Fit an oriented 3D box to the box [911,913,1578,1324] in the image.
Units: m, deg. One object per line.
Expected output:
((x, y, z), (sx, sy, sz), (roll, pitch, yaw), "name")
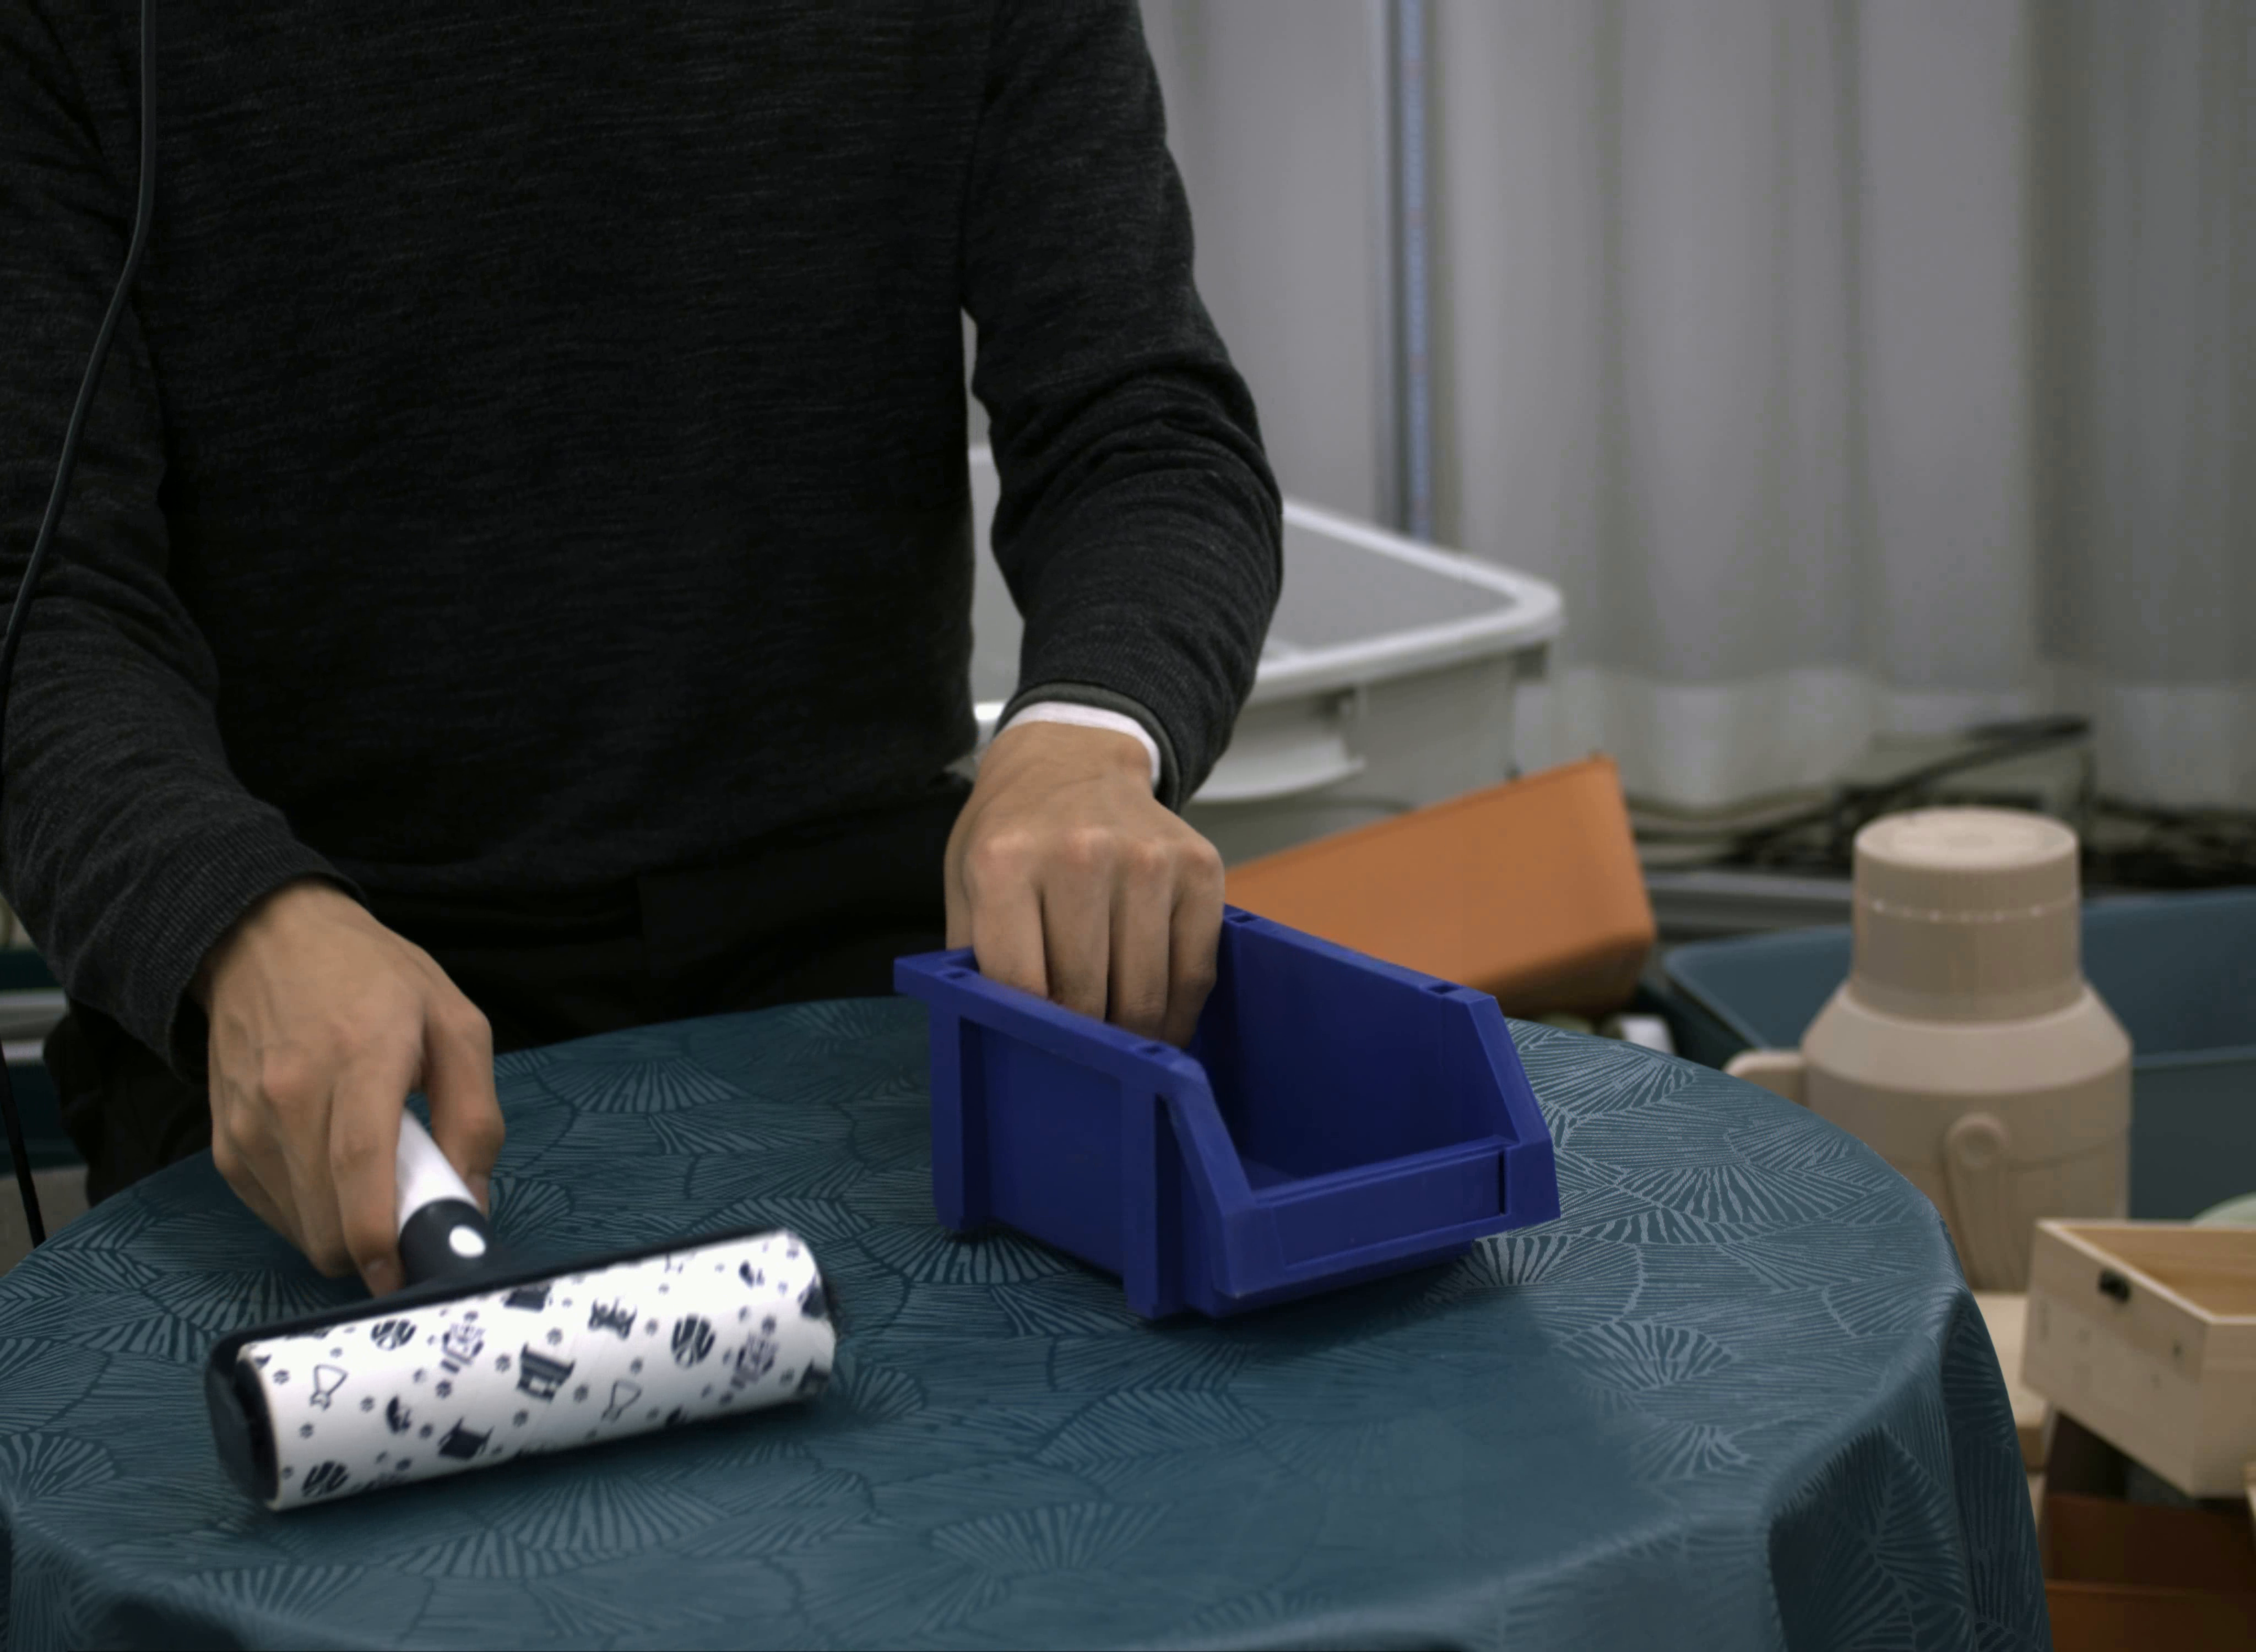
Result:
((0.035, 0.089, 1.642), (0.124, 0.081, 0.180), (-10, 14, -32), "box")

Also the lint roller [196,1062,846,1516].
((-0.205, 0.117, 1.597), (0.175, 0.050, 0.250), (-10, 24, -21), "lint roller")
